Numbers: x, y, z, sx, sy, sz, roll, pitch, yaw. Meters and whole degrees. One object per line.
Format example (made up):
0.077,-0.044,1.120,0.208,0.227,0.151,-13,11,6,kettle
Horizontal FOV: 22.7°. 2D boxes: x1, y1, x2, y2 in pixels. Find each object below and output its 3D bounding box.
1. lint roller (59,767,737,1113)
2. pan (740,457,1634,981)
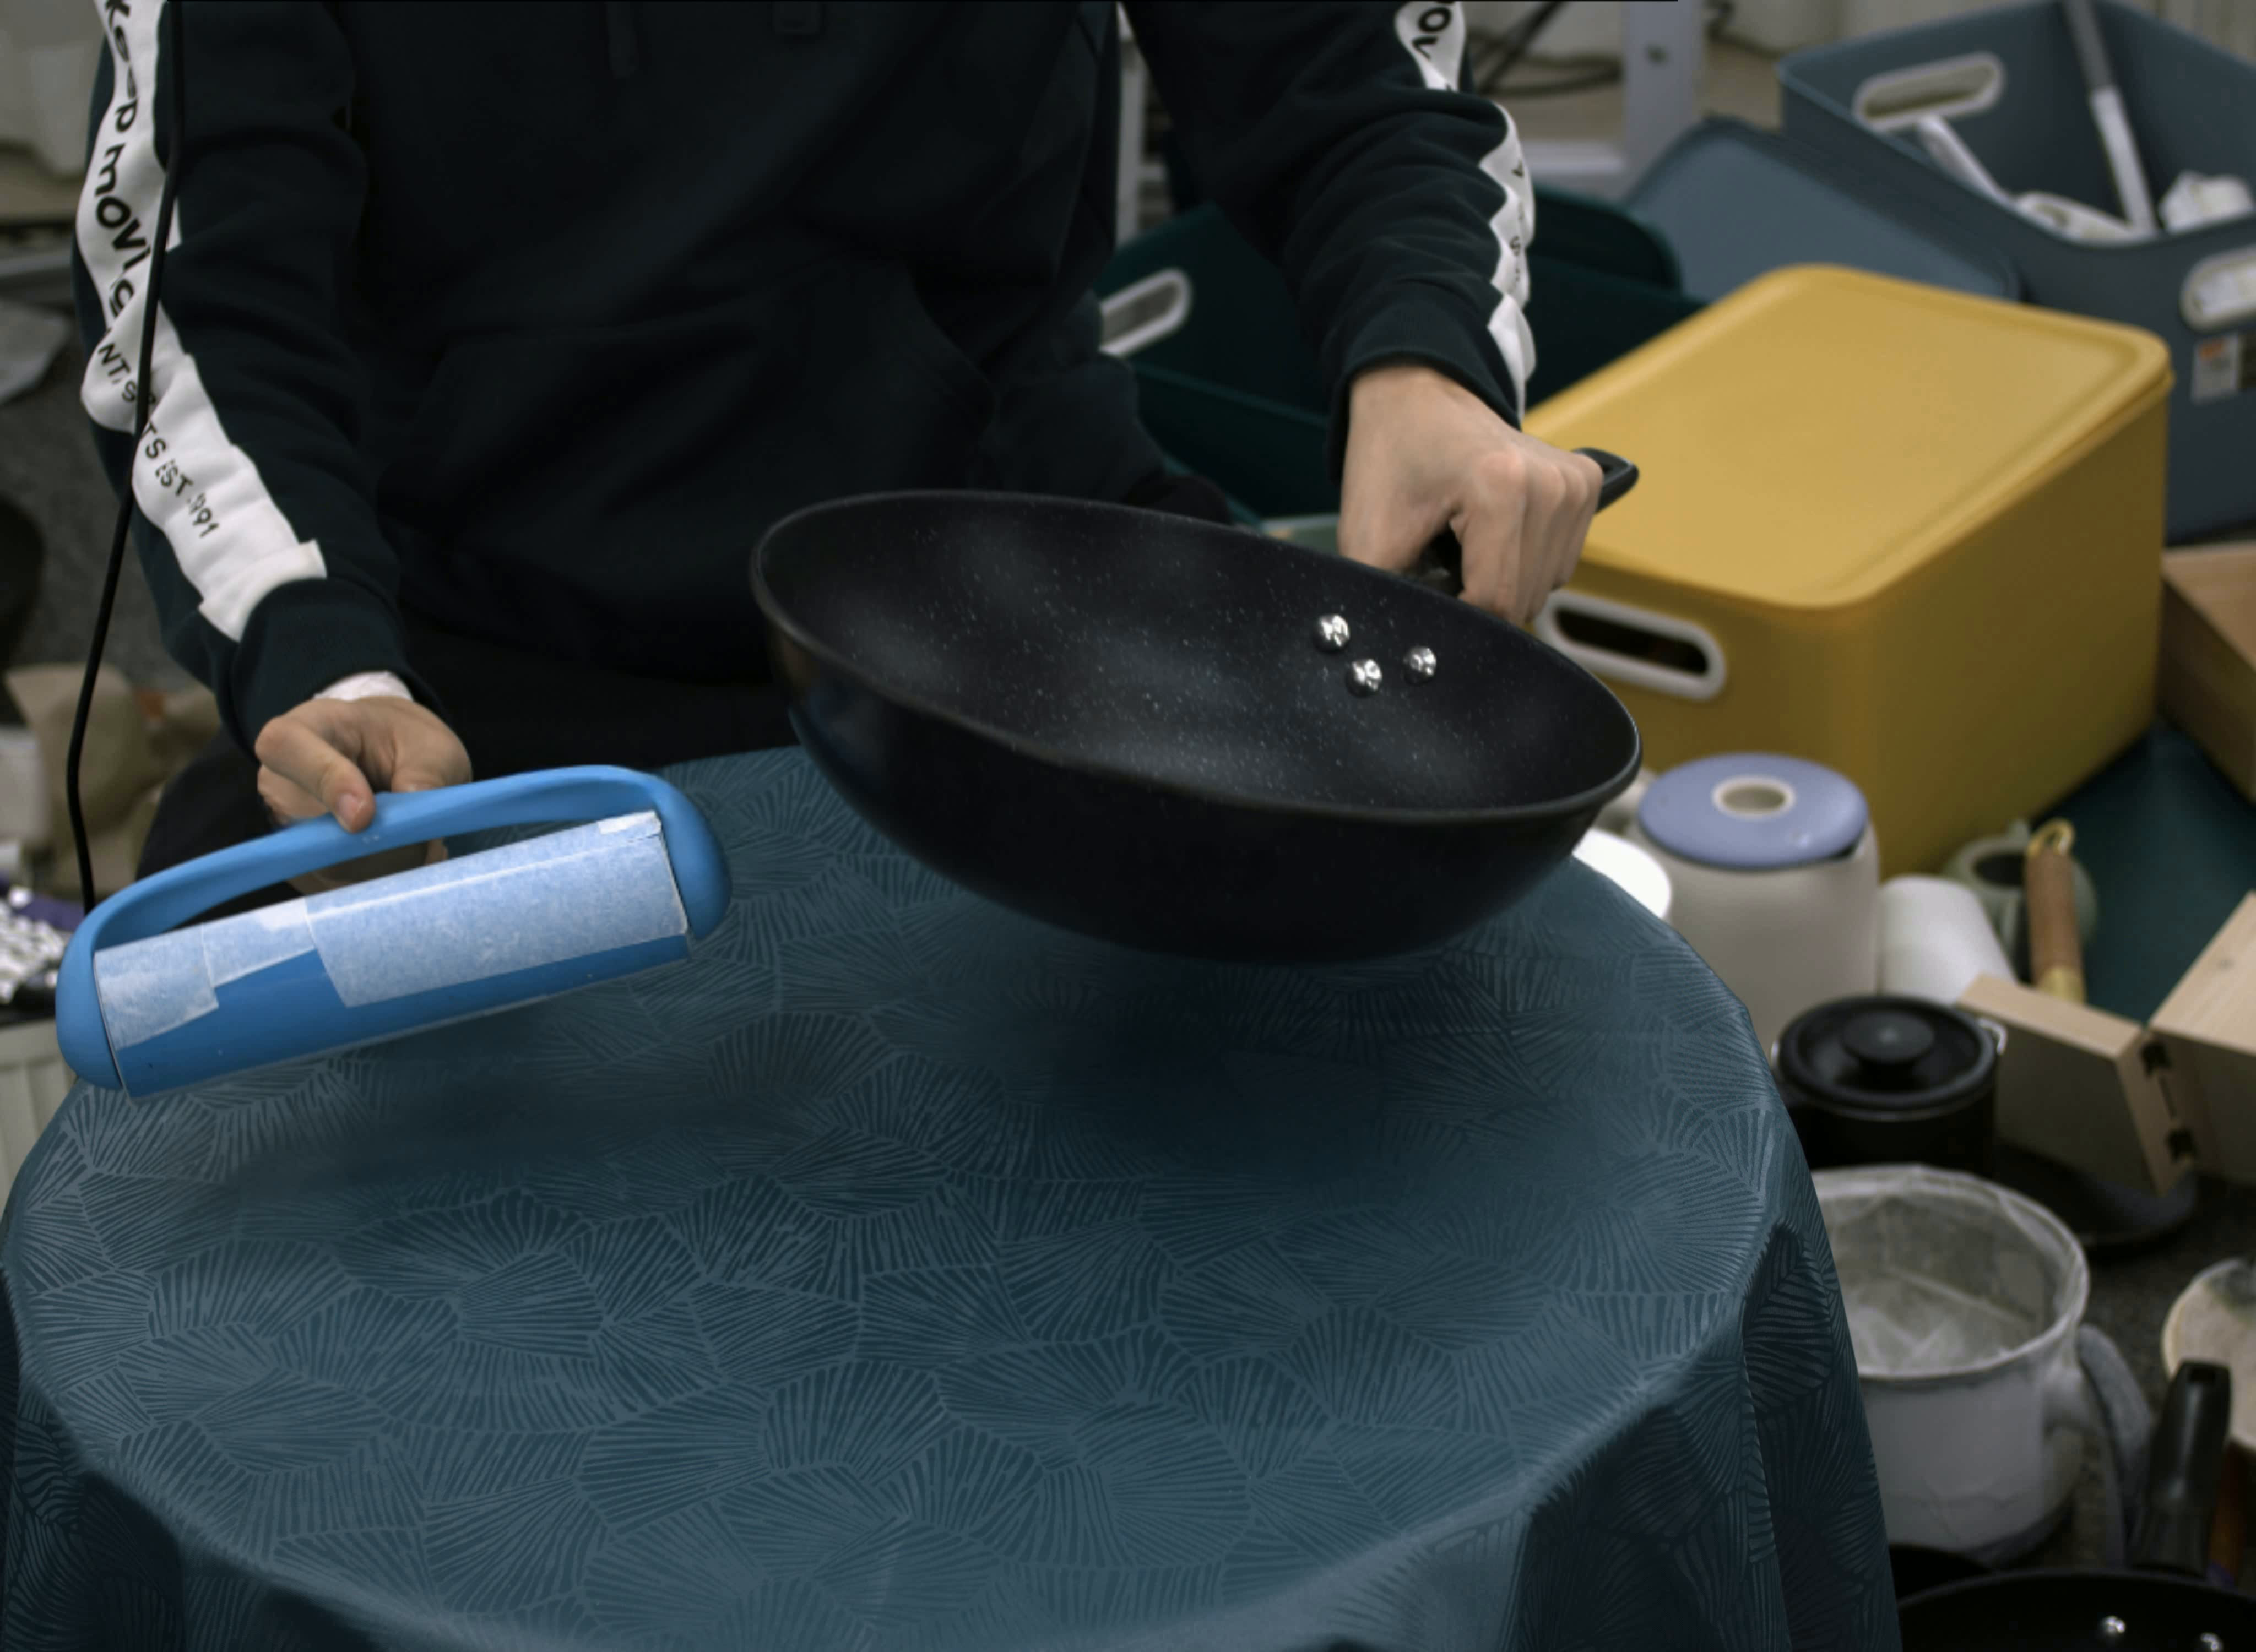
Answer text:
-0.255,0.024,1.919,0.229,0.067,0.181,-17,23,-9,lint roller
0.055,-0.047,1.969,0.309,0.111,0.481,23,20,23,pan
